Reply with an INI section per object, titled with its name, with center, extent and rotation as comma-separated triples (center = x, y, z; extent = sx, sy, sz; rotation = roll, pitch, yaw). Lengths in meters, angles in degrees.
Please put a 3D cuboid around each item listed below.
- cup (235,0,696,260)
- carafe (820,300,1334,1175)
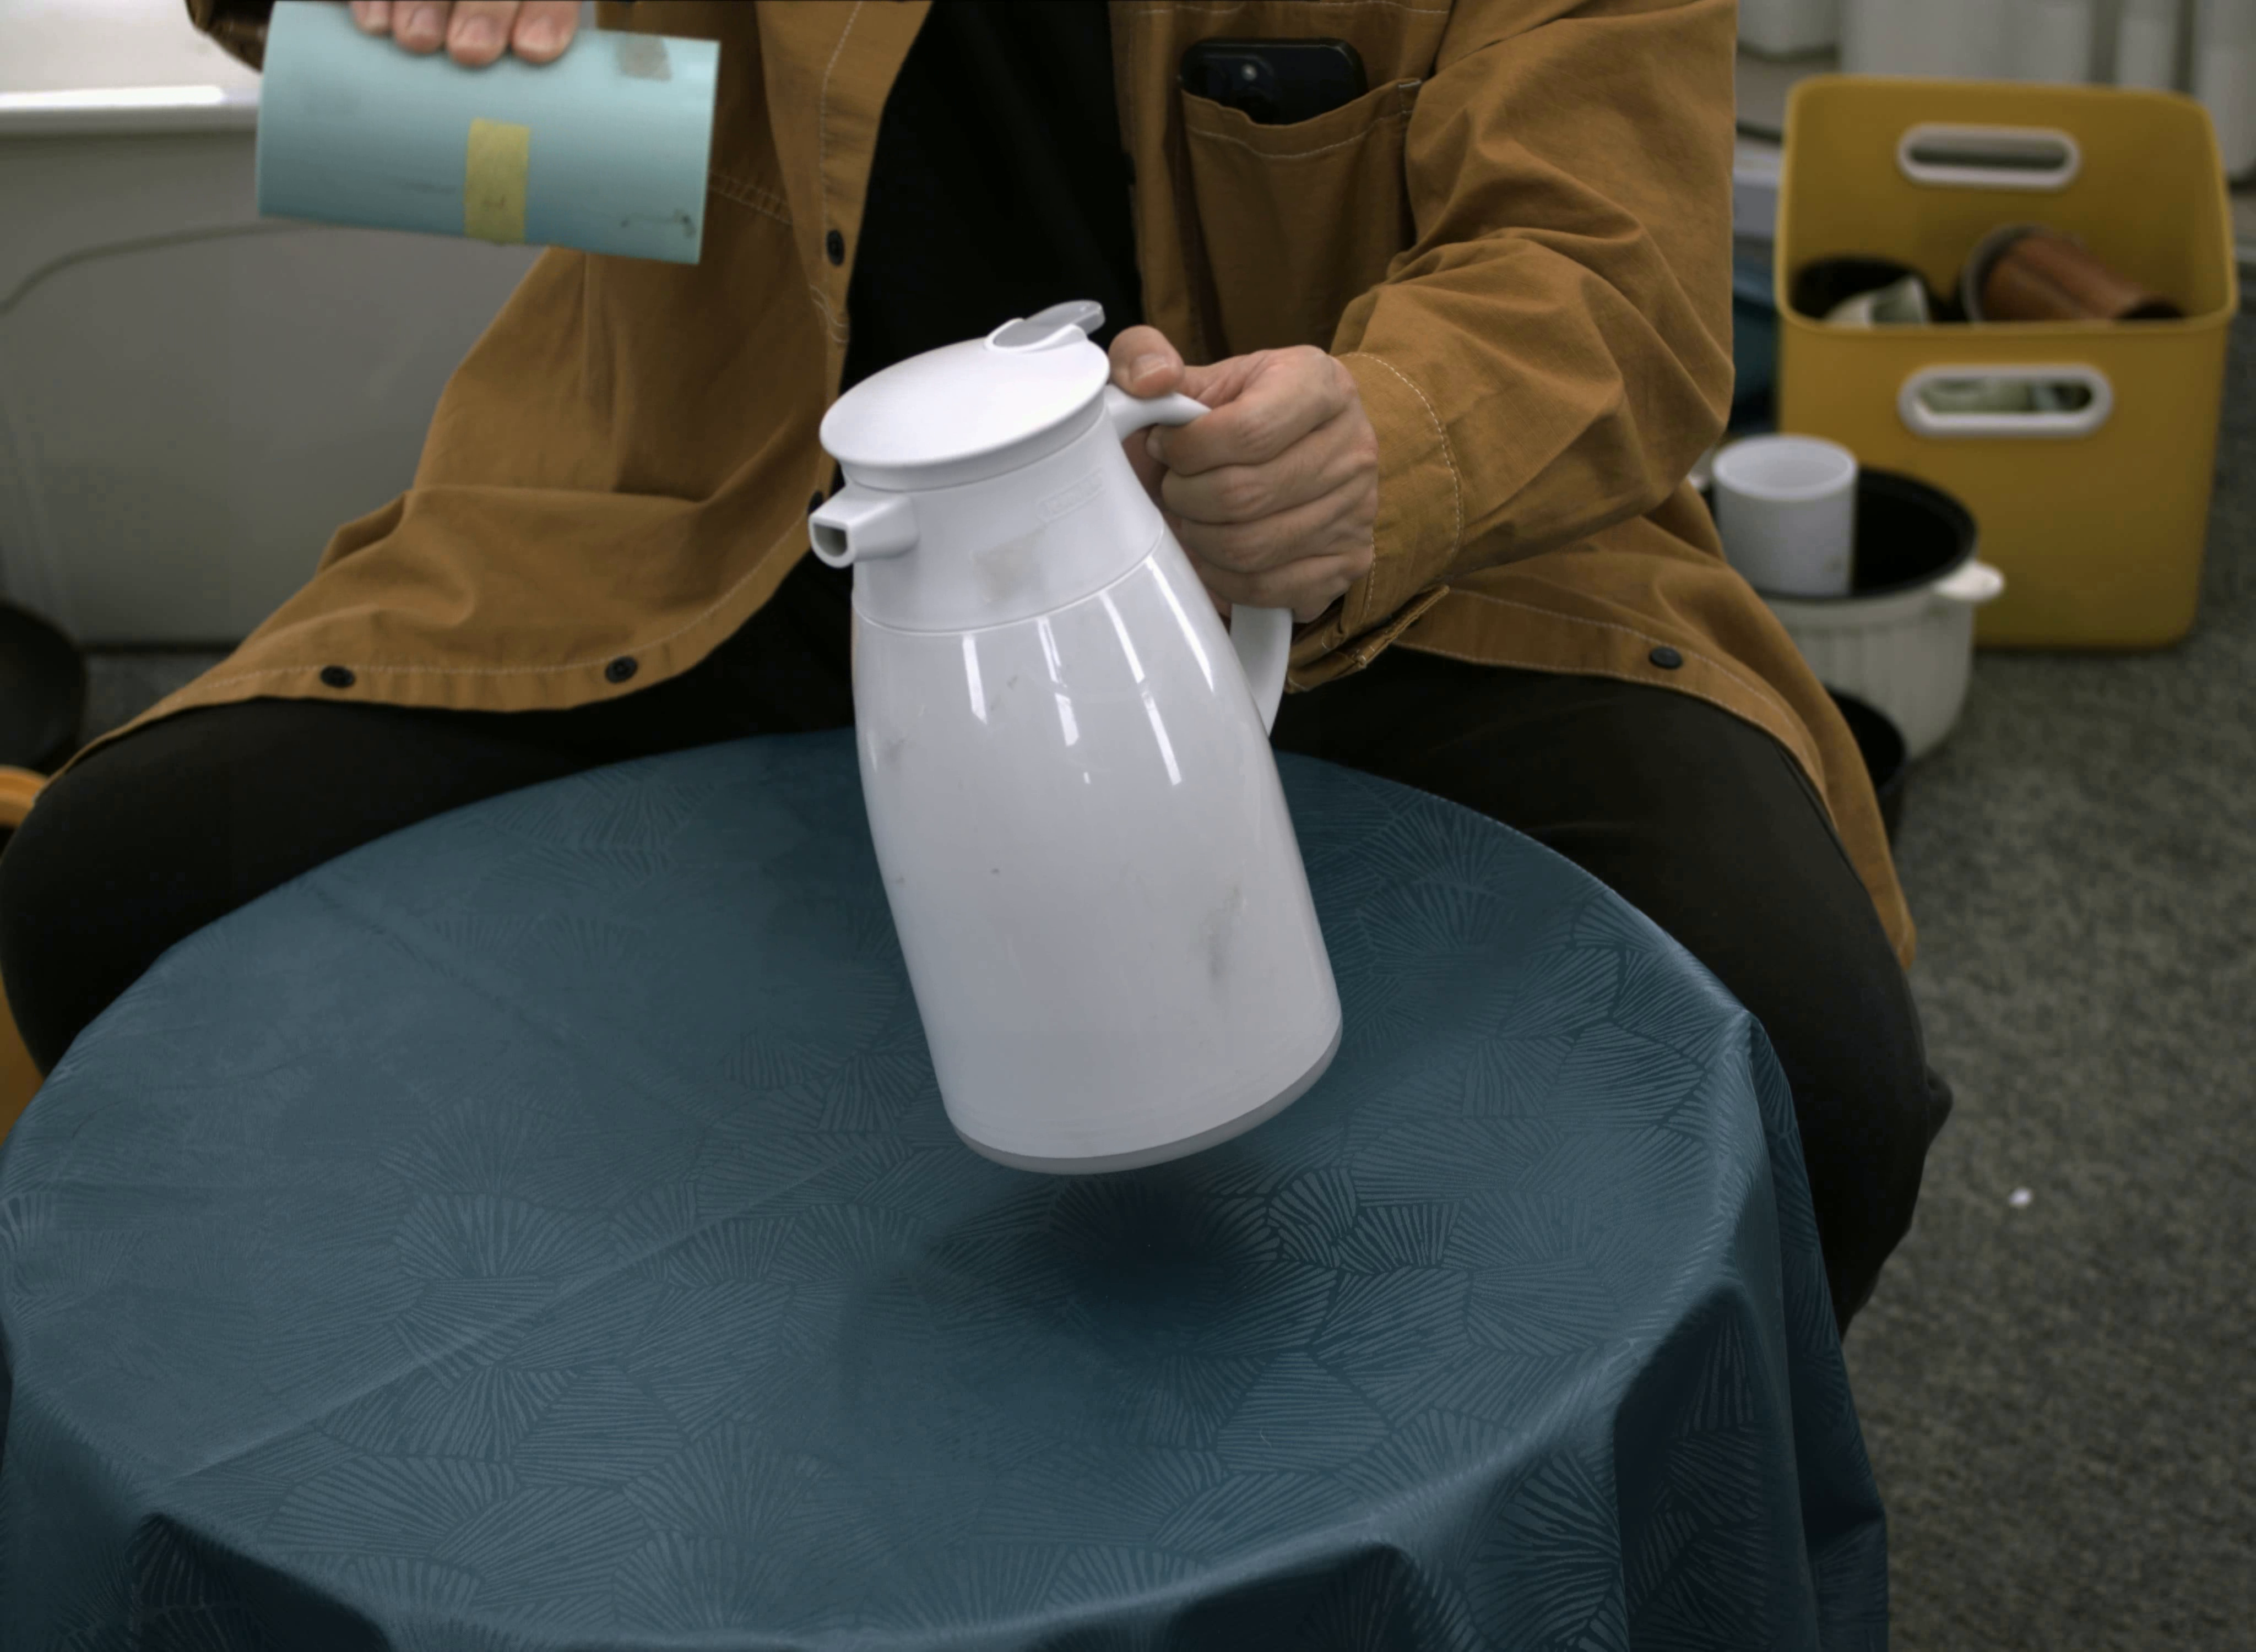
[cup]
center = -0.195, -0.207, 1.672
extent = 0.132, 0.066, 0.068
rotation = 5, 26, -5
[carafe]
center = -0.010, -0.038, 1.774
extent = 0.170, 0.246, 0.132
rotation = -31, 30, -35
